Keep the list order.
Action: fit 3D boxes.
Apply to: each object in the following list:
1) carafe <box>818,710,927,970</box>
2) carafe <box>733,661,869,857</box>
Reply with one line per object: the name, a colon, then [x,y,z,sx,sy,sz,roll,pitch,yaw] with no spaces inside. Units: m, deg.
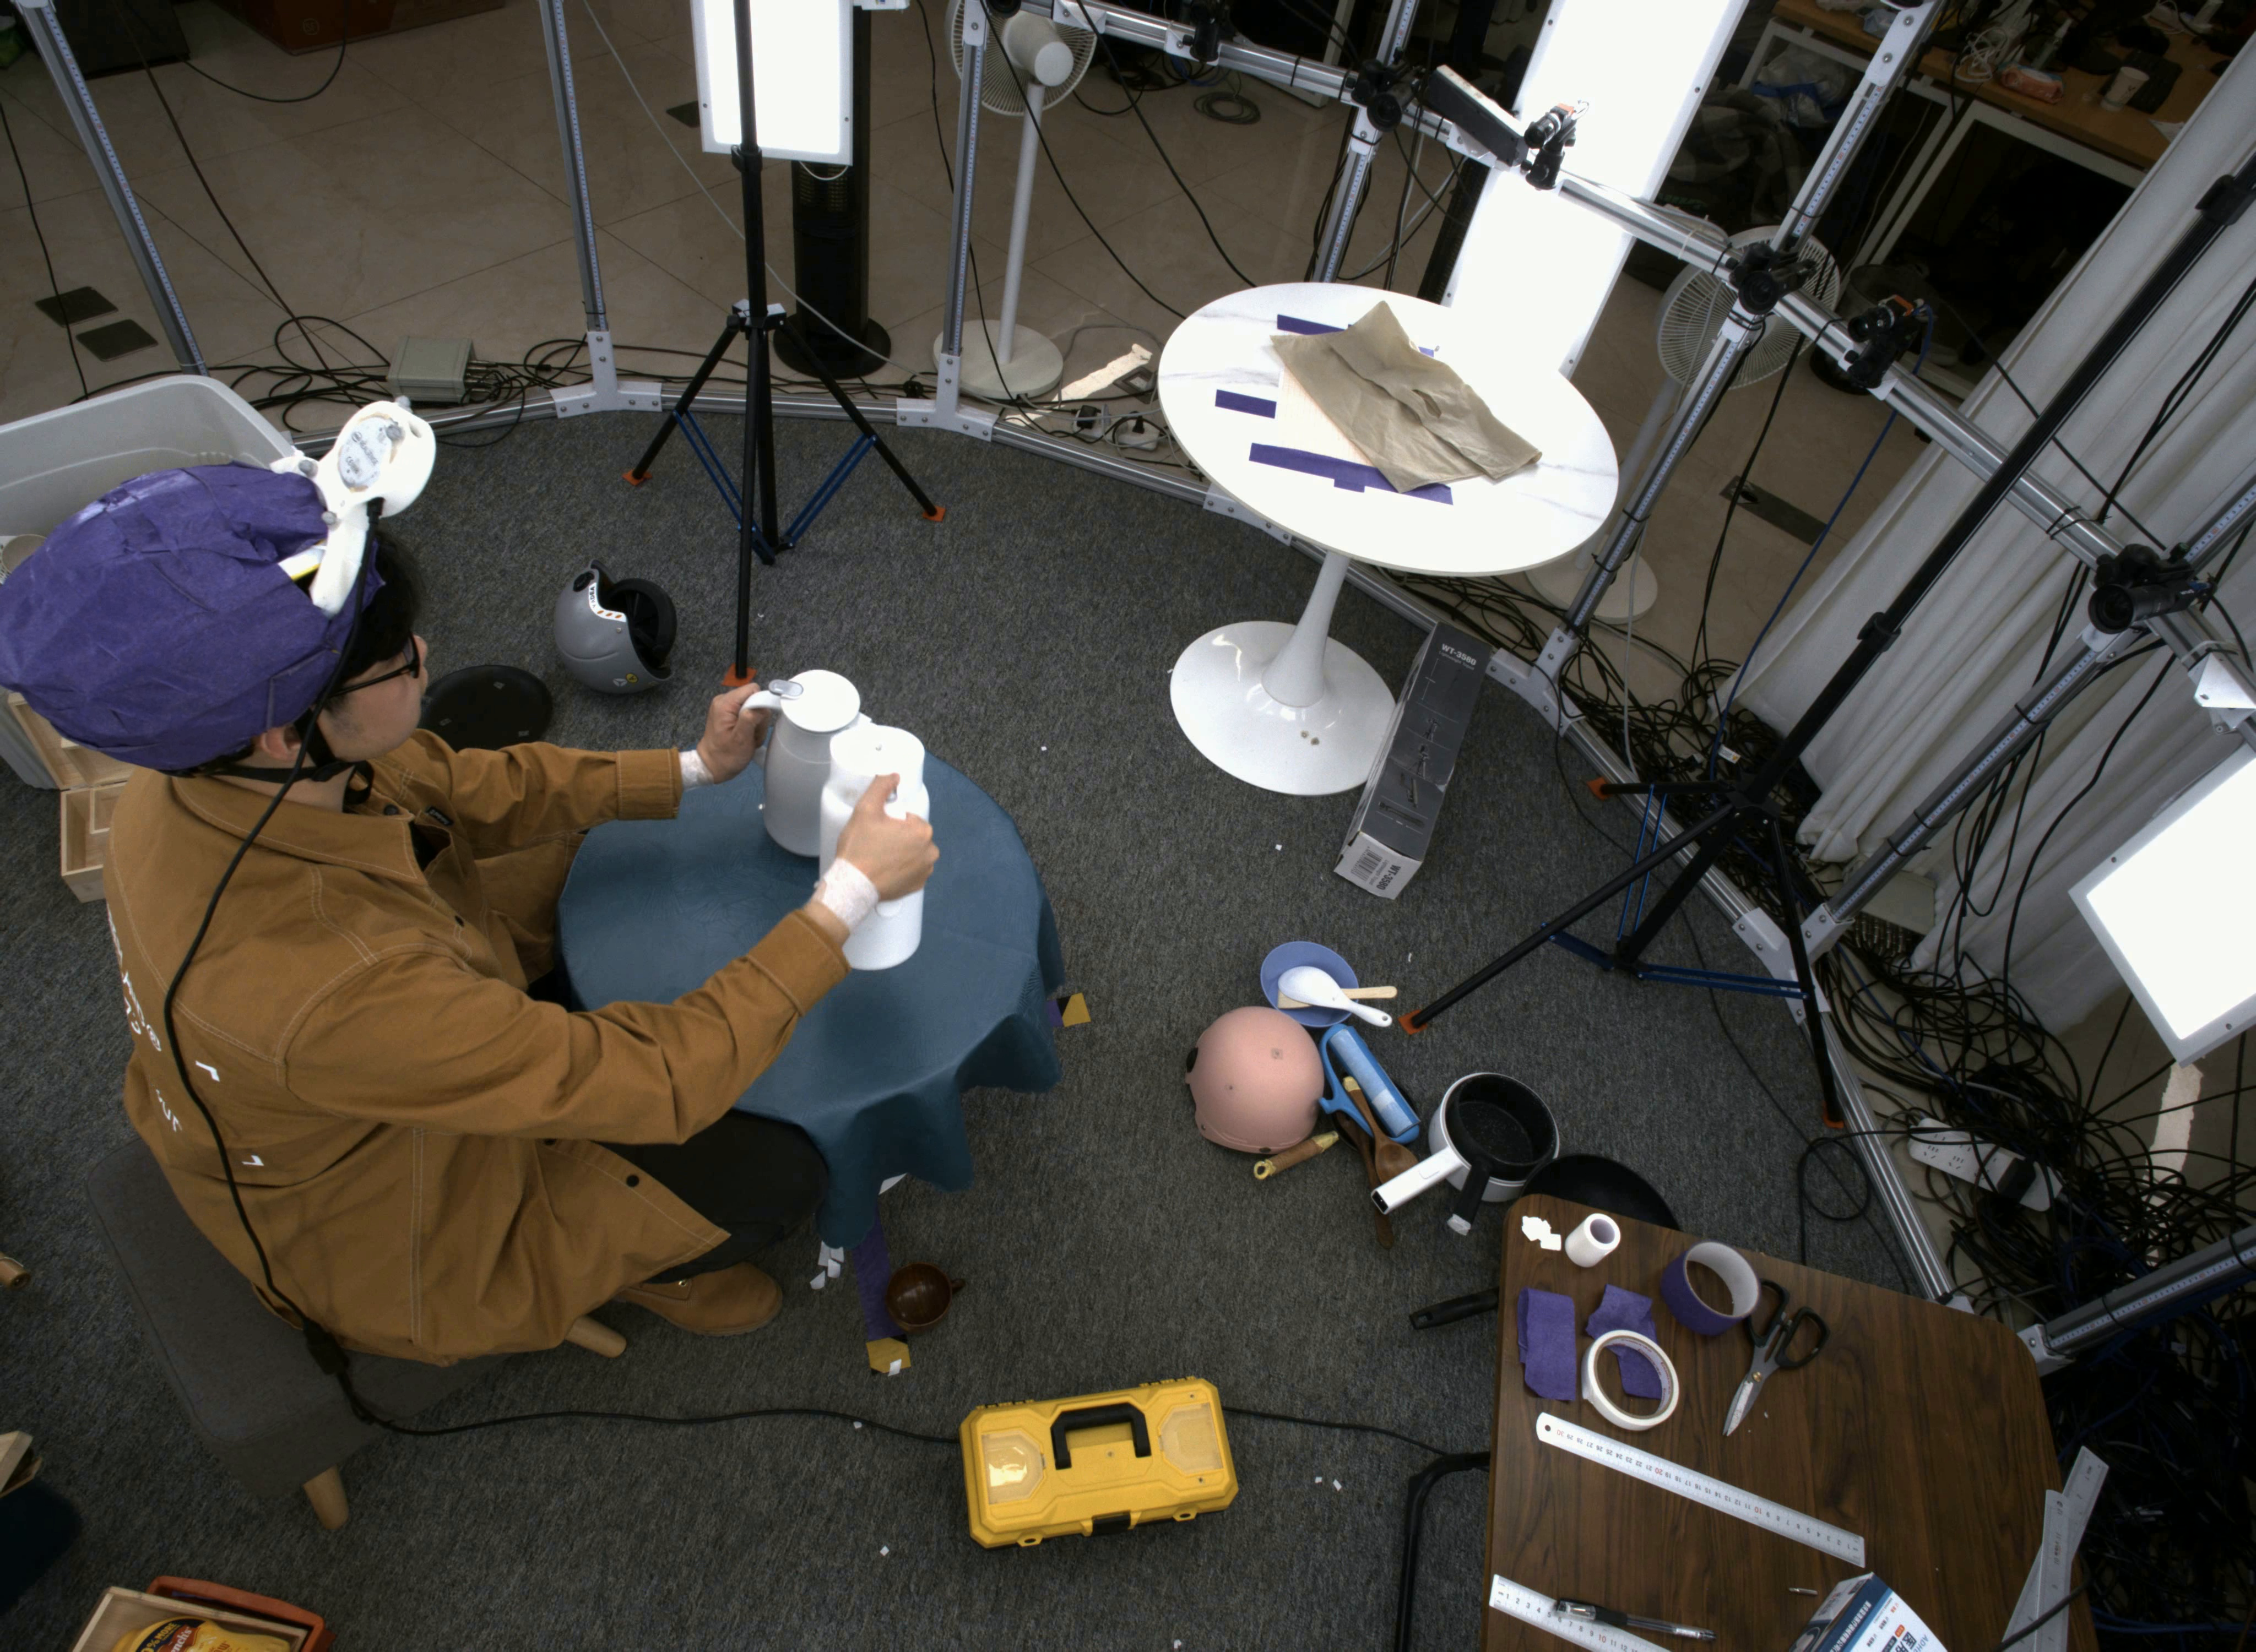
carafe: [-0.276,0.032,1.421,0.125,0.276,0.167,-4,38,-21]
carafe: [-0.402,-0.092,1.589,0.167,0.253,0.131,17,54,-2]
